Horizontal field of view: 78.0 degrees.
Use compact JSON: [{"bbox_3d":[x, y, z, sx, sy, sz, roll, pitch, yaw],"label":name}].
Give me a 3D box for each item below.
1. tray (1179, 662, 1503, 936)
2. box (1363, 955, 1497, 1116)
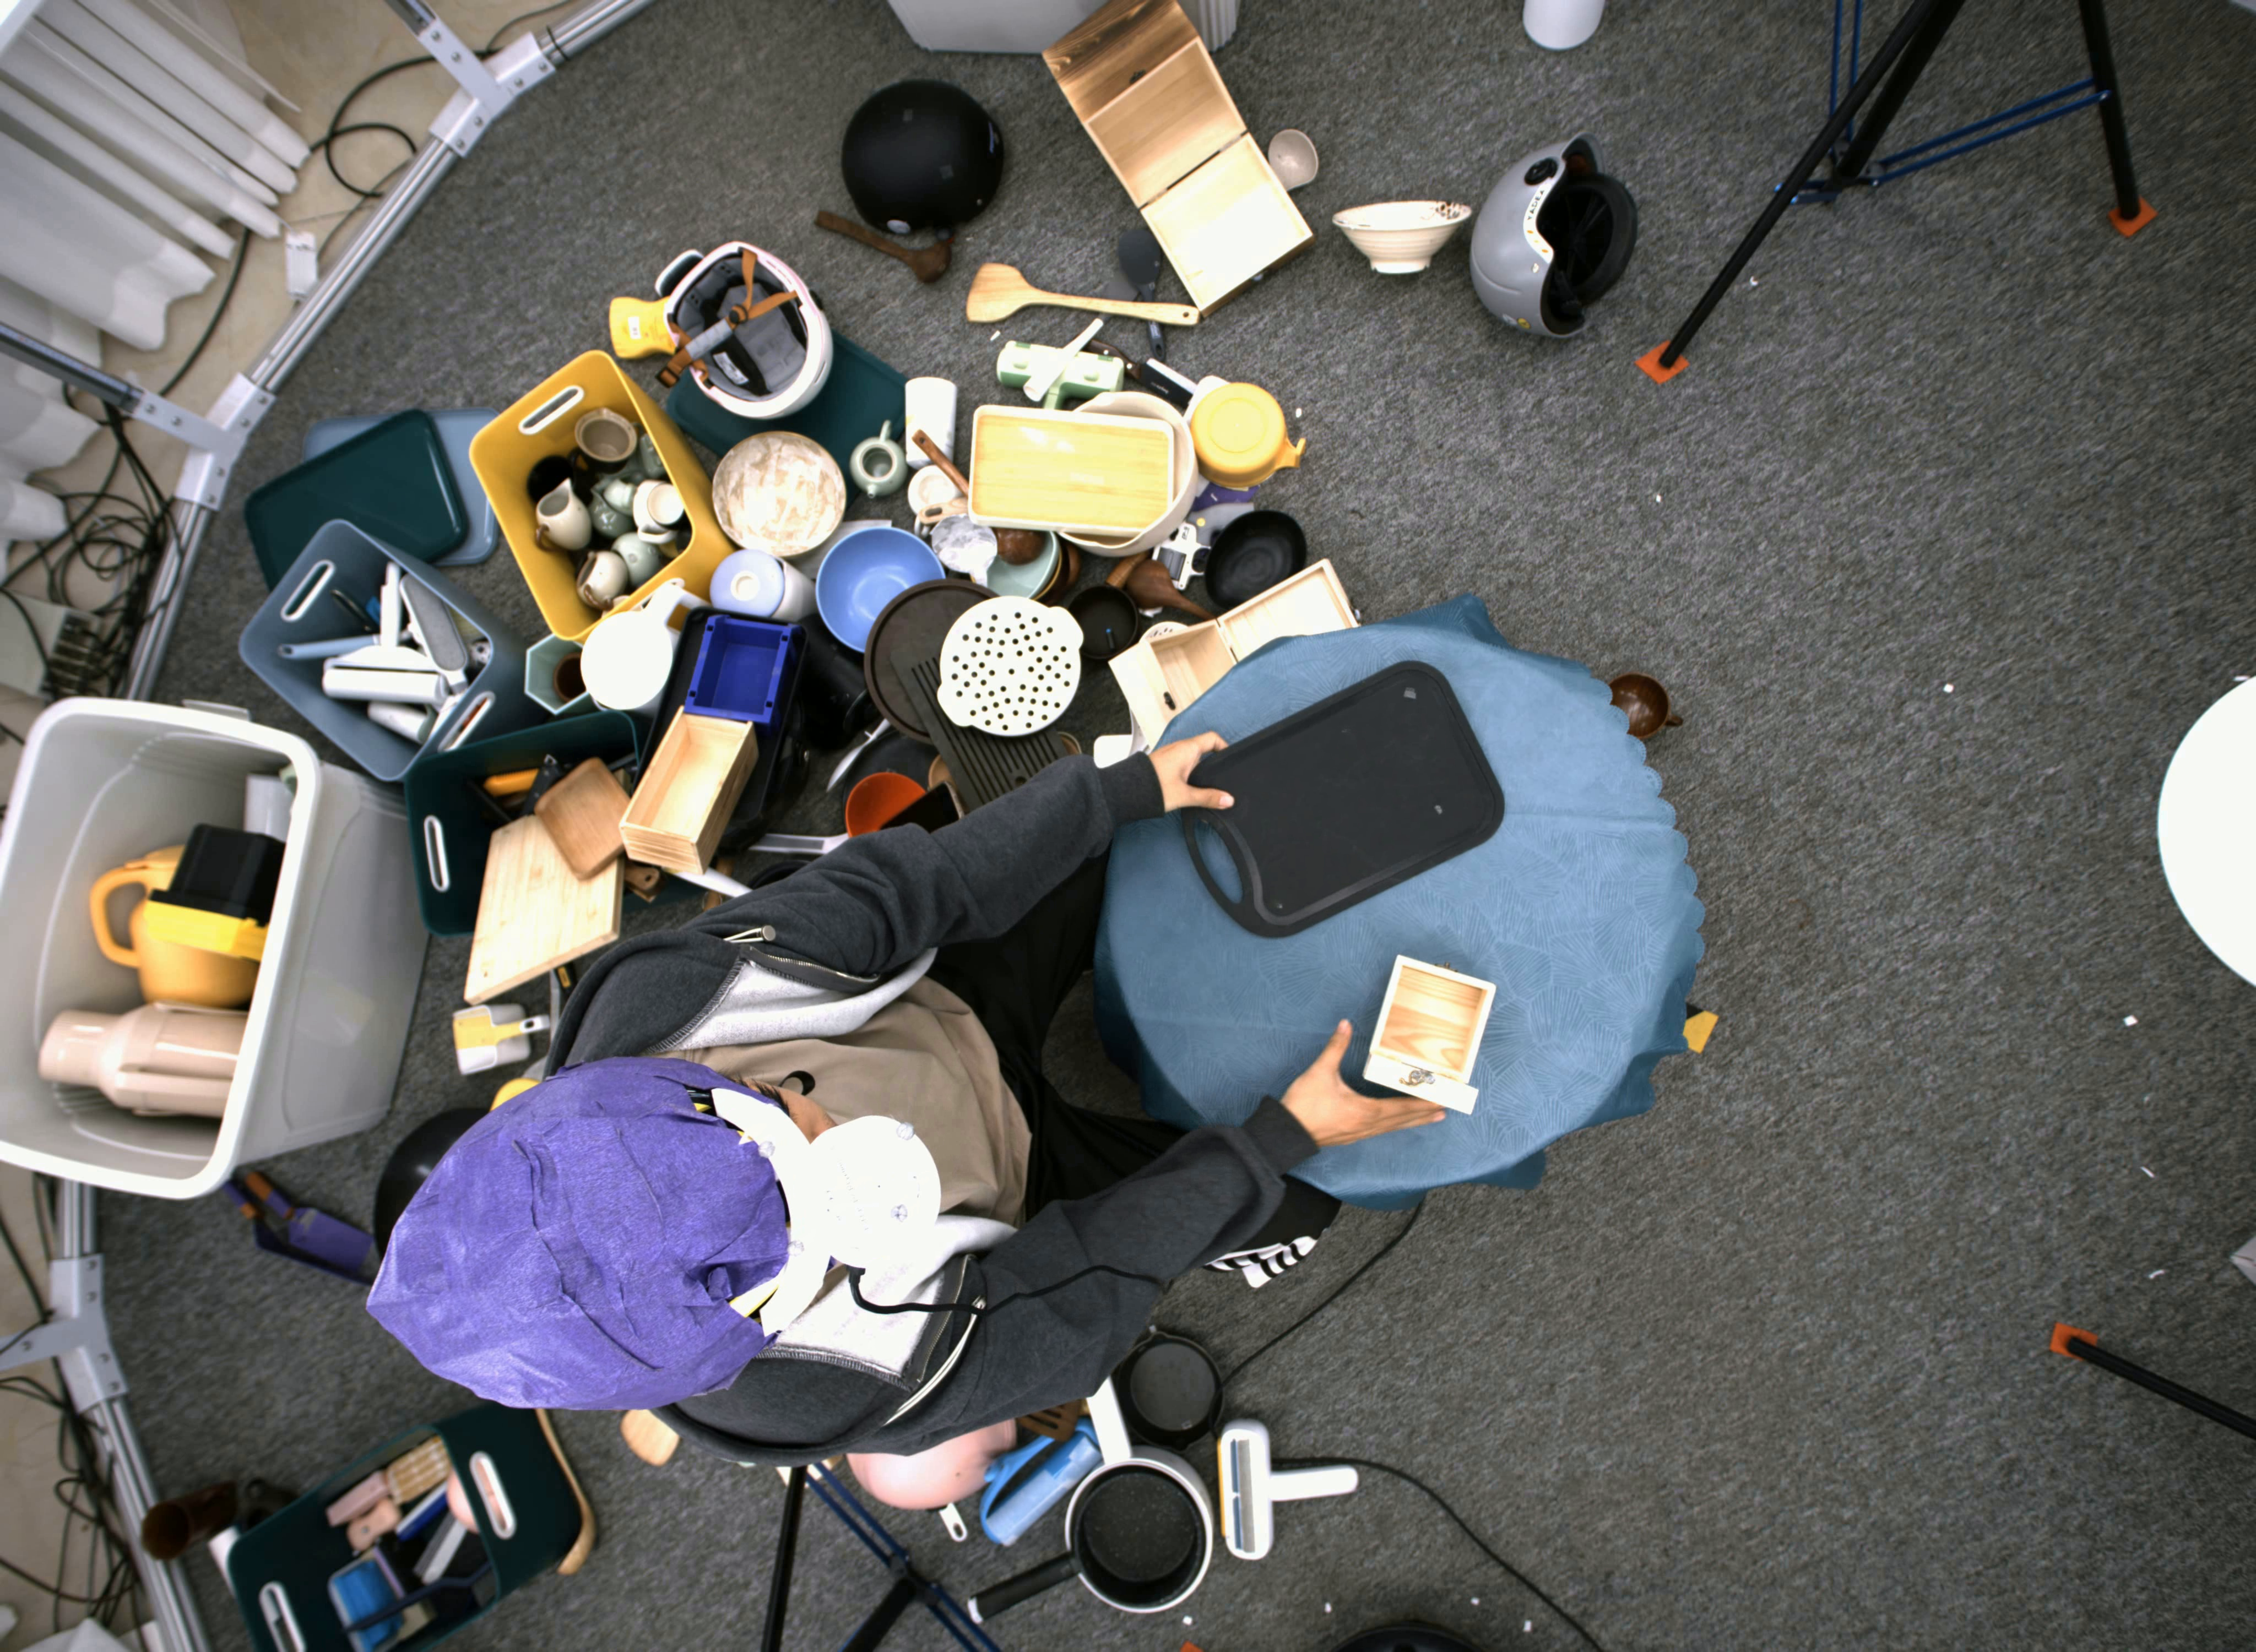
[{"bbox_3d":[0.218,-0.024,1.451,0.327,0.010,0.211,-26,93,7],"label":"tray"},{"bbox_3d":[0.298,0.197,1.354,0.102,0.184,0.134,16,89,10],"label":"box"}]
